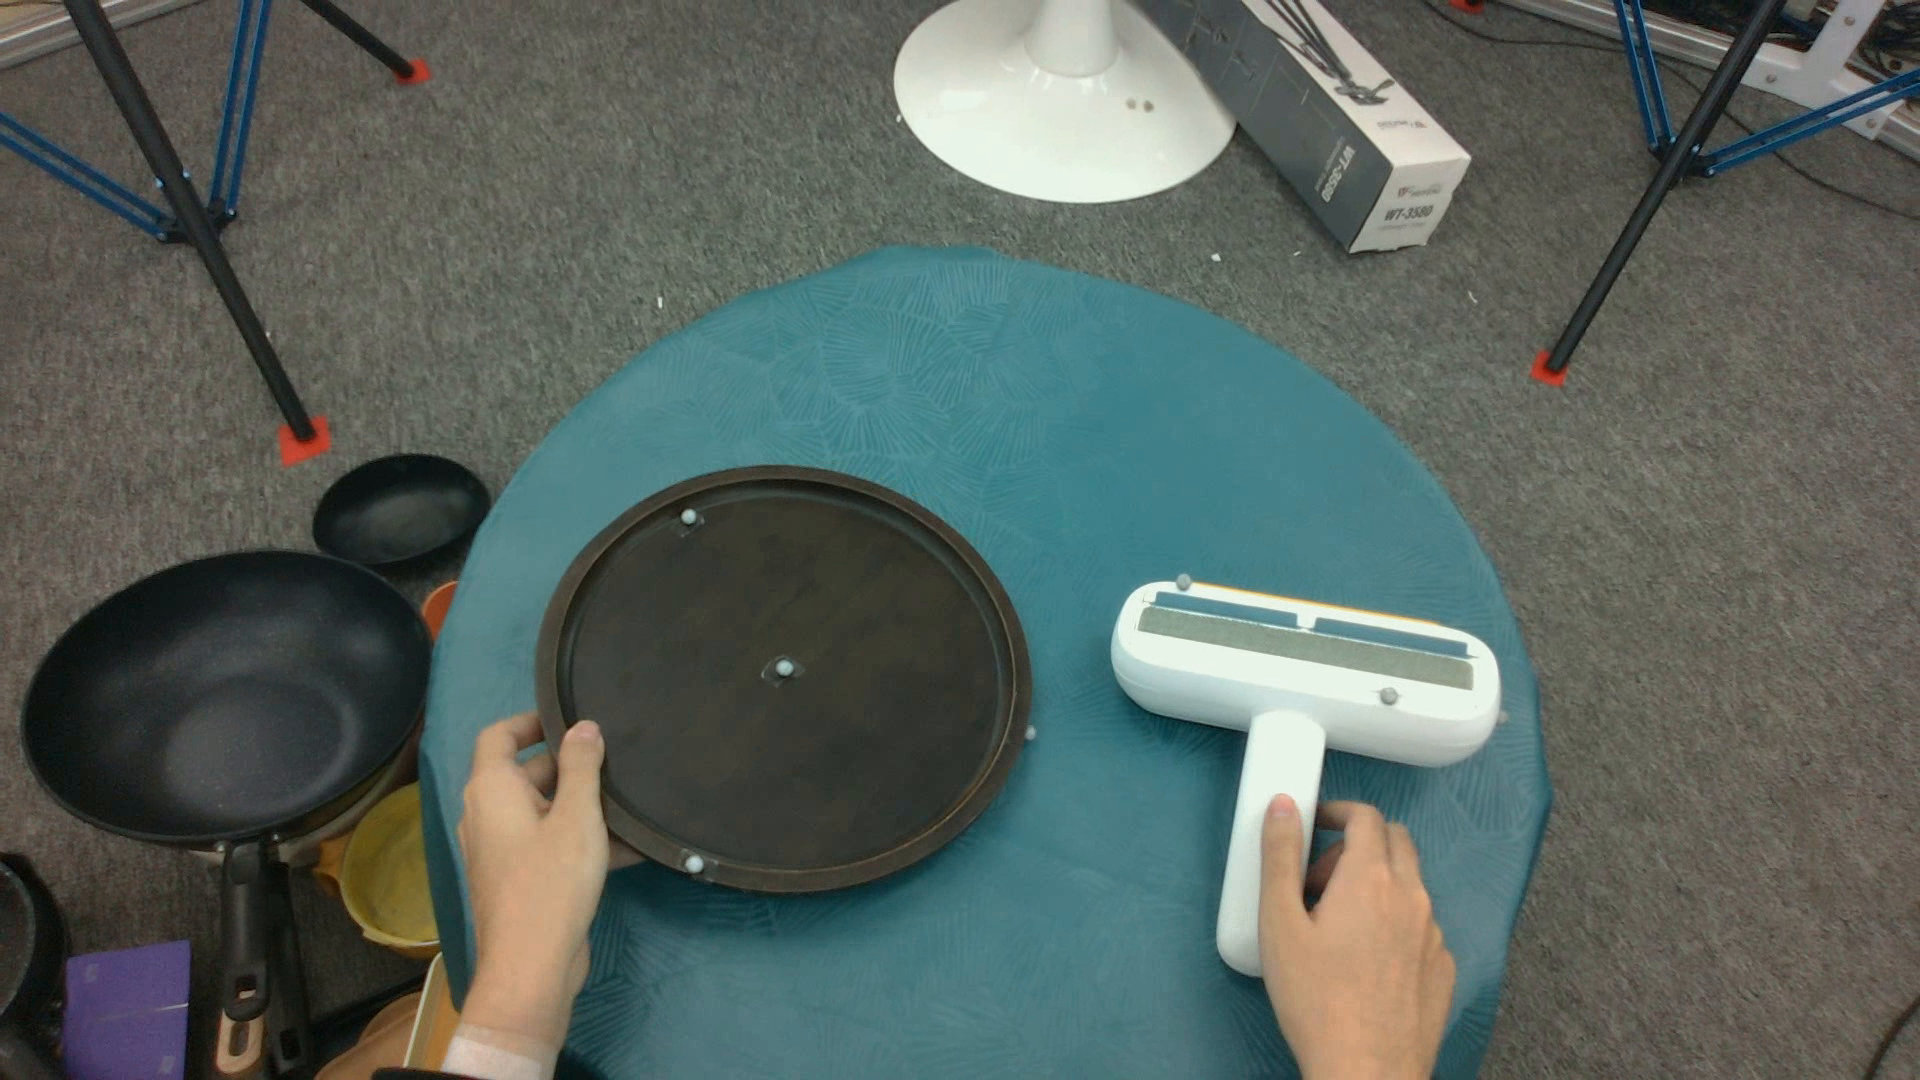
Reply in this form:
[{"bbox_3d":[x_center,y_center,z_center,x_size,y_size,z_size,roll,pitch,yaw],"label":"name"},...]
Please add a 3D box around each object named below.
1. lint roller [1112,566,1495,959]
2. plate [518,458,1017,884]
[{"bbox_3d":[0.155,0.111,0.686,0.193,0.074,0.193,15,56,13],"label":"lint roller"},{"bbox_3d":[-0.096,0.059,0.712,0.255,0.029,0.256,7,53,-9],"label":"plate"}]
